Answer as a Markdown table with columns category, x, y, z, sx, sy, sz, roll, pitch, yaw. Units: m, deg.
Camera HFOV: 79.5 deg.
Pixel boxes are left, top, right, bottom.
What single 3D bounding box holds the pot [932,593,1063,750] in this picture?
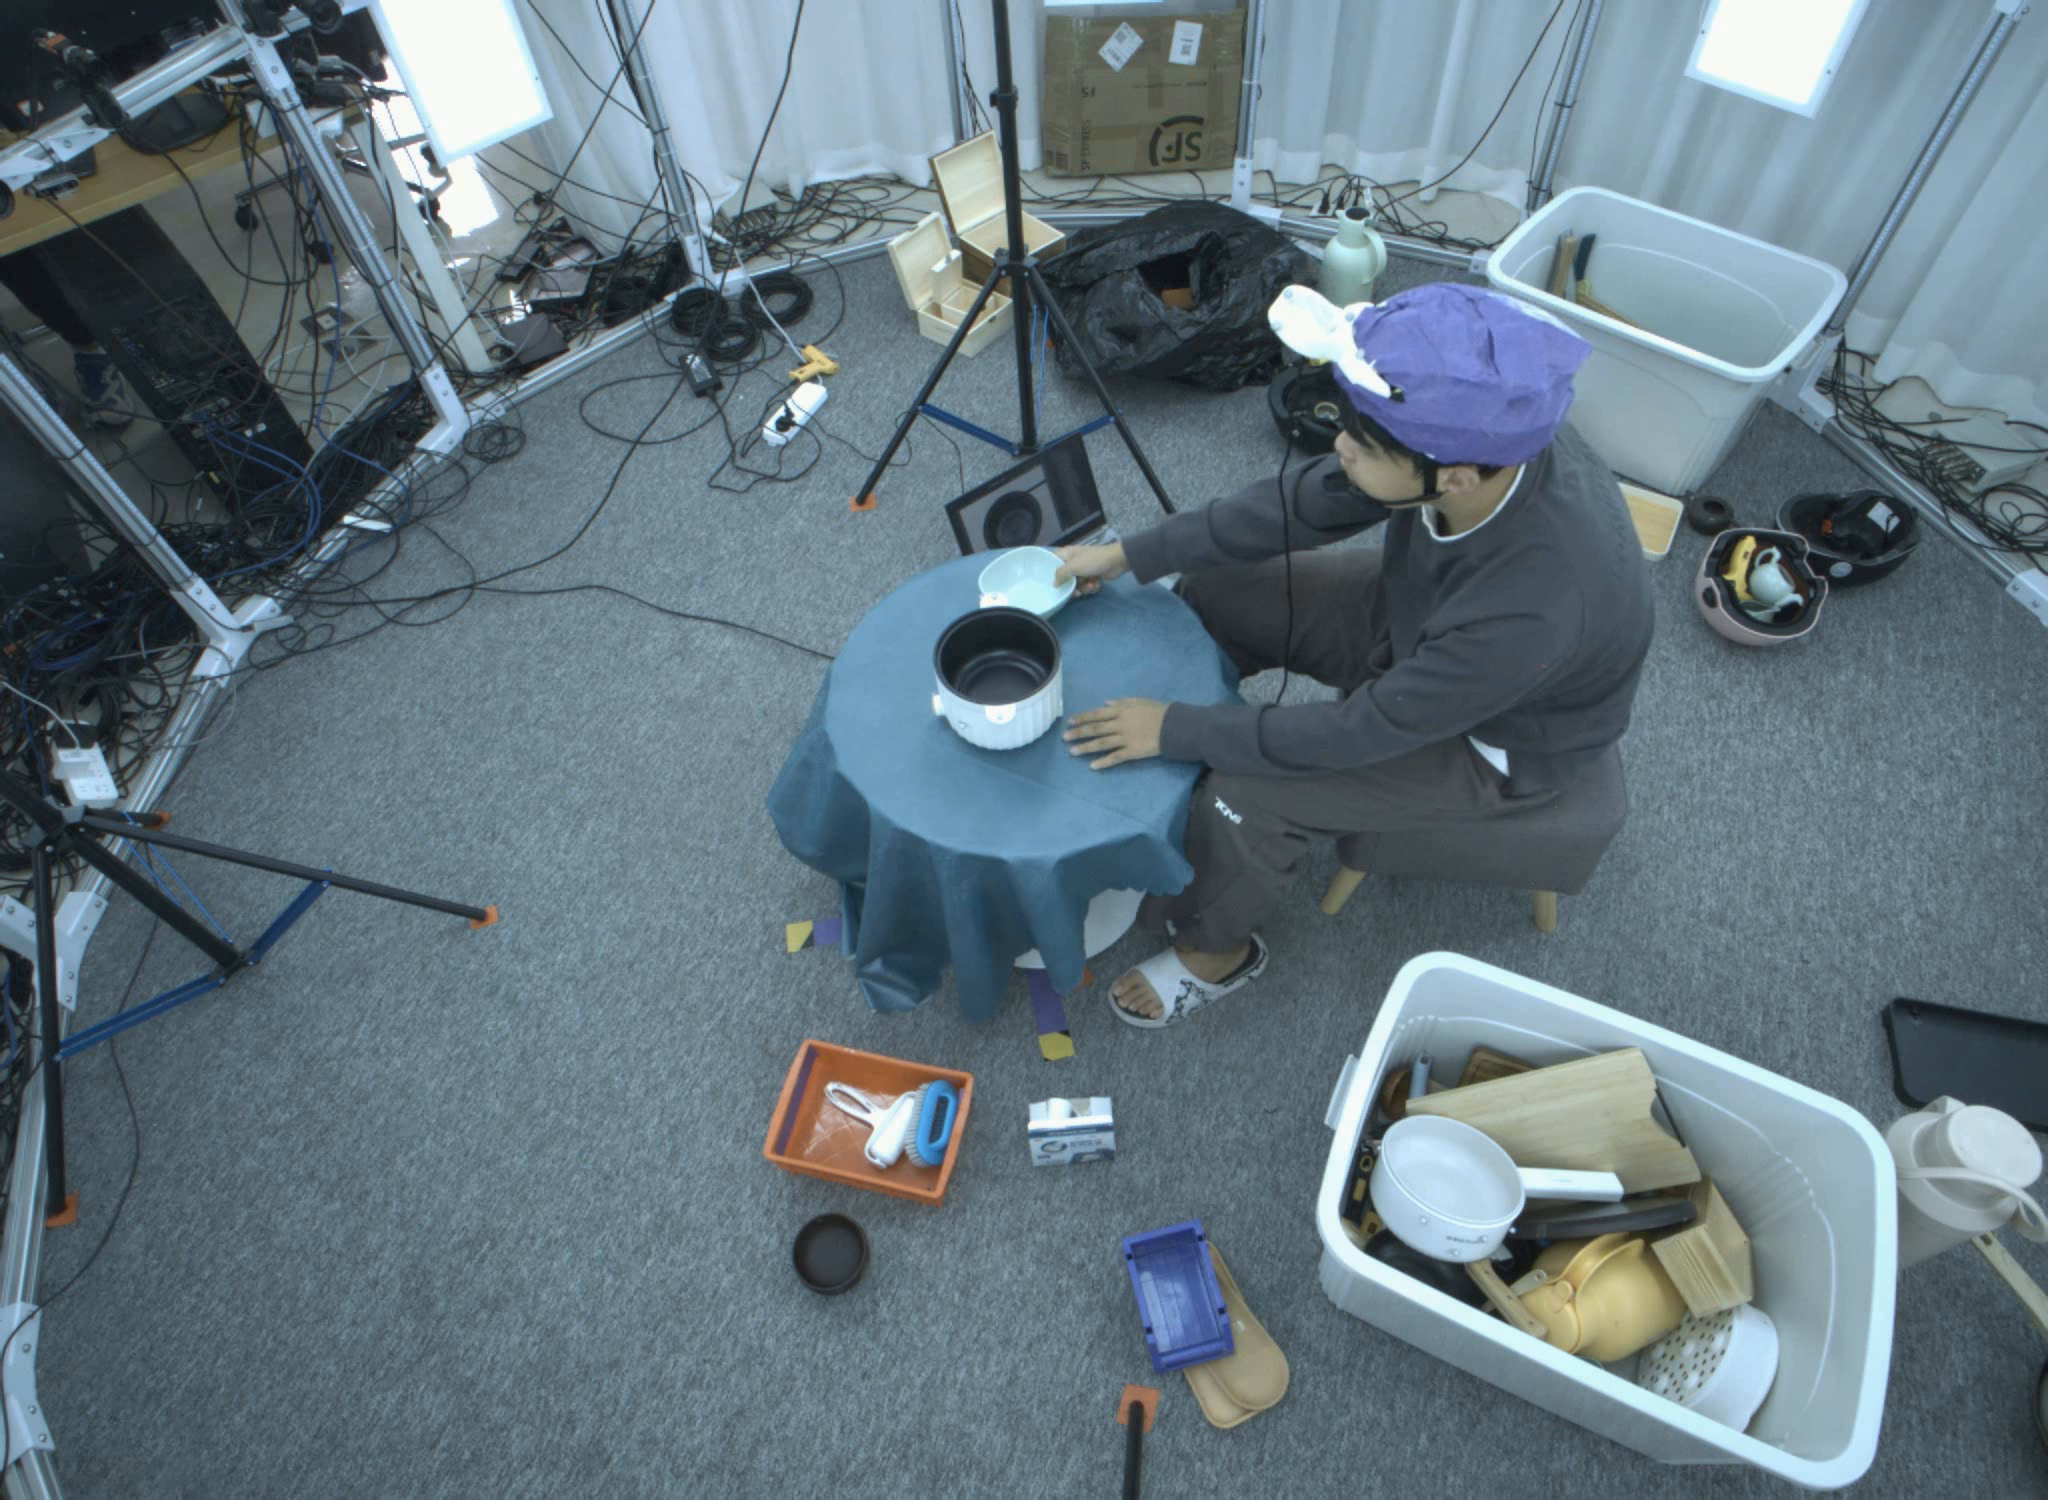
| category | x | y | z | sx | sy | sz | roll | pitch | yaw |
| --- | --- | --- | --- | --- | --- | --- | --- | --- | --- |
| pot | -0.039 | -0.095 | 1.769 | 0.191 | 0.144 | 0.237 | -4 | 53 | -4 |

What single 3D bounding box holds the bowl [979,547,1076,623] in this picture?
| category | x | y | z | sx | sy | sz | roll | pitch | yaw |
| --- | --- | --- | --- | --- | --- | --- | --- | --- | --- |
| bowl | 0.007 | -0.246 | 1.928 | 0.151 | 0.059 | 0.150 | -1 | 55 | 2 |
